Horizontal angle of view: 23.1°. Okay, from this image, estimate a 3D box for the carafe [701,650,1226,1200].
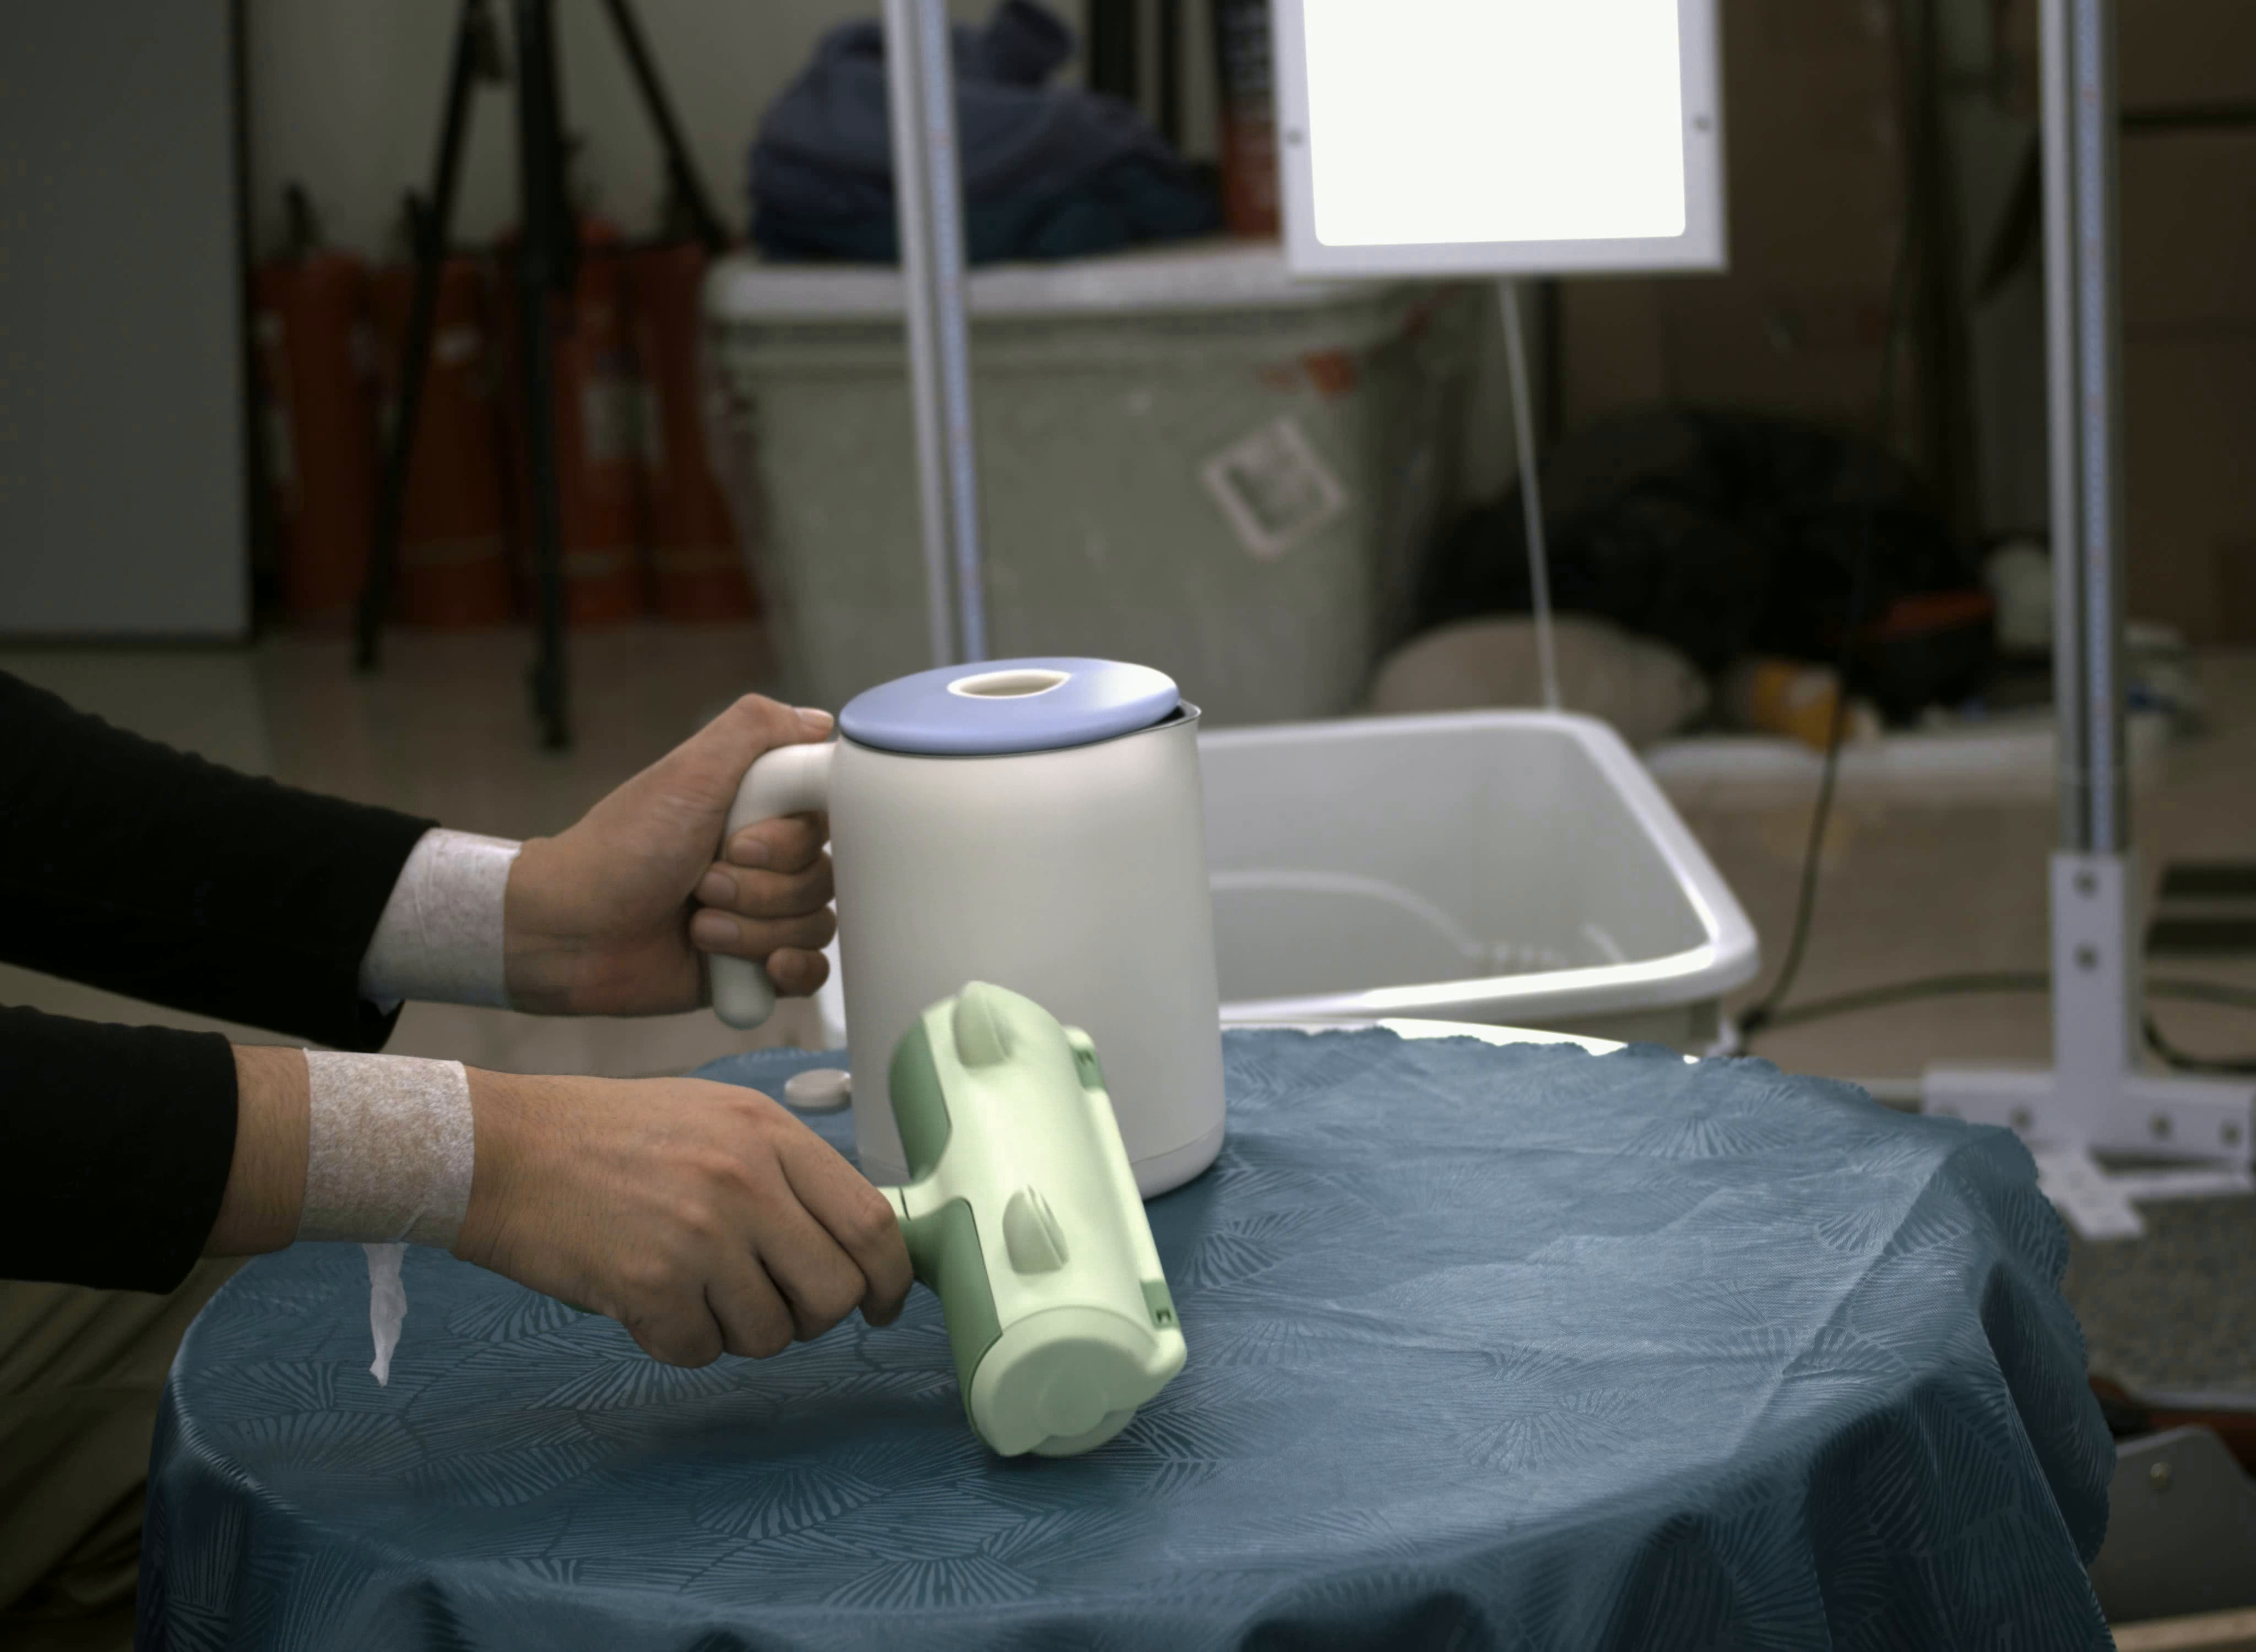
[{"bbox_3d":[-0.059,0.037,1.921,0.193,0.183,0.130,-2,14,20],"label":"carafe"}]

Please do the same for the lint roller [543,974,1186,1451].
[{"bbox_3d":[-0.088,0.112,1.702,0.181,0.083,0.199,0,30,-10],"label":"lint roller"}]
